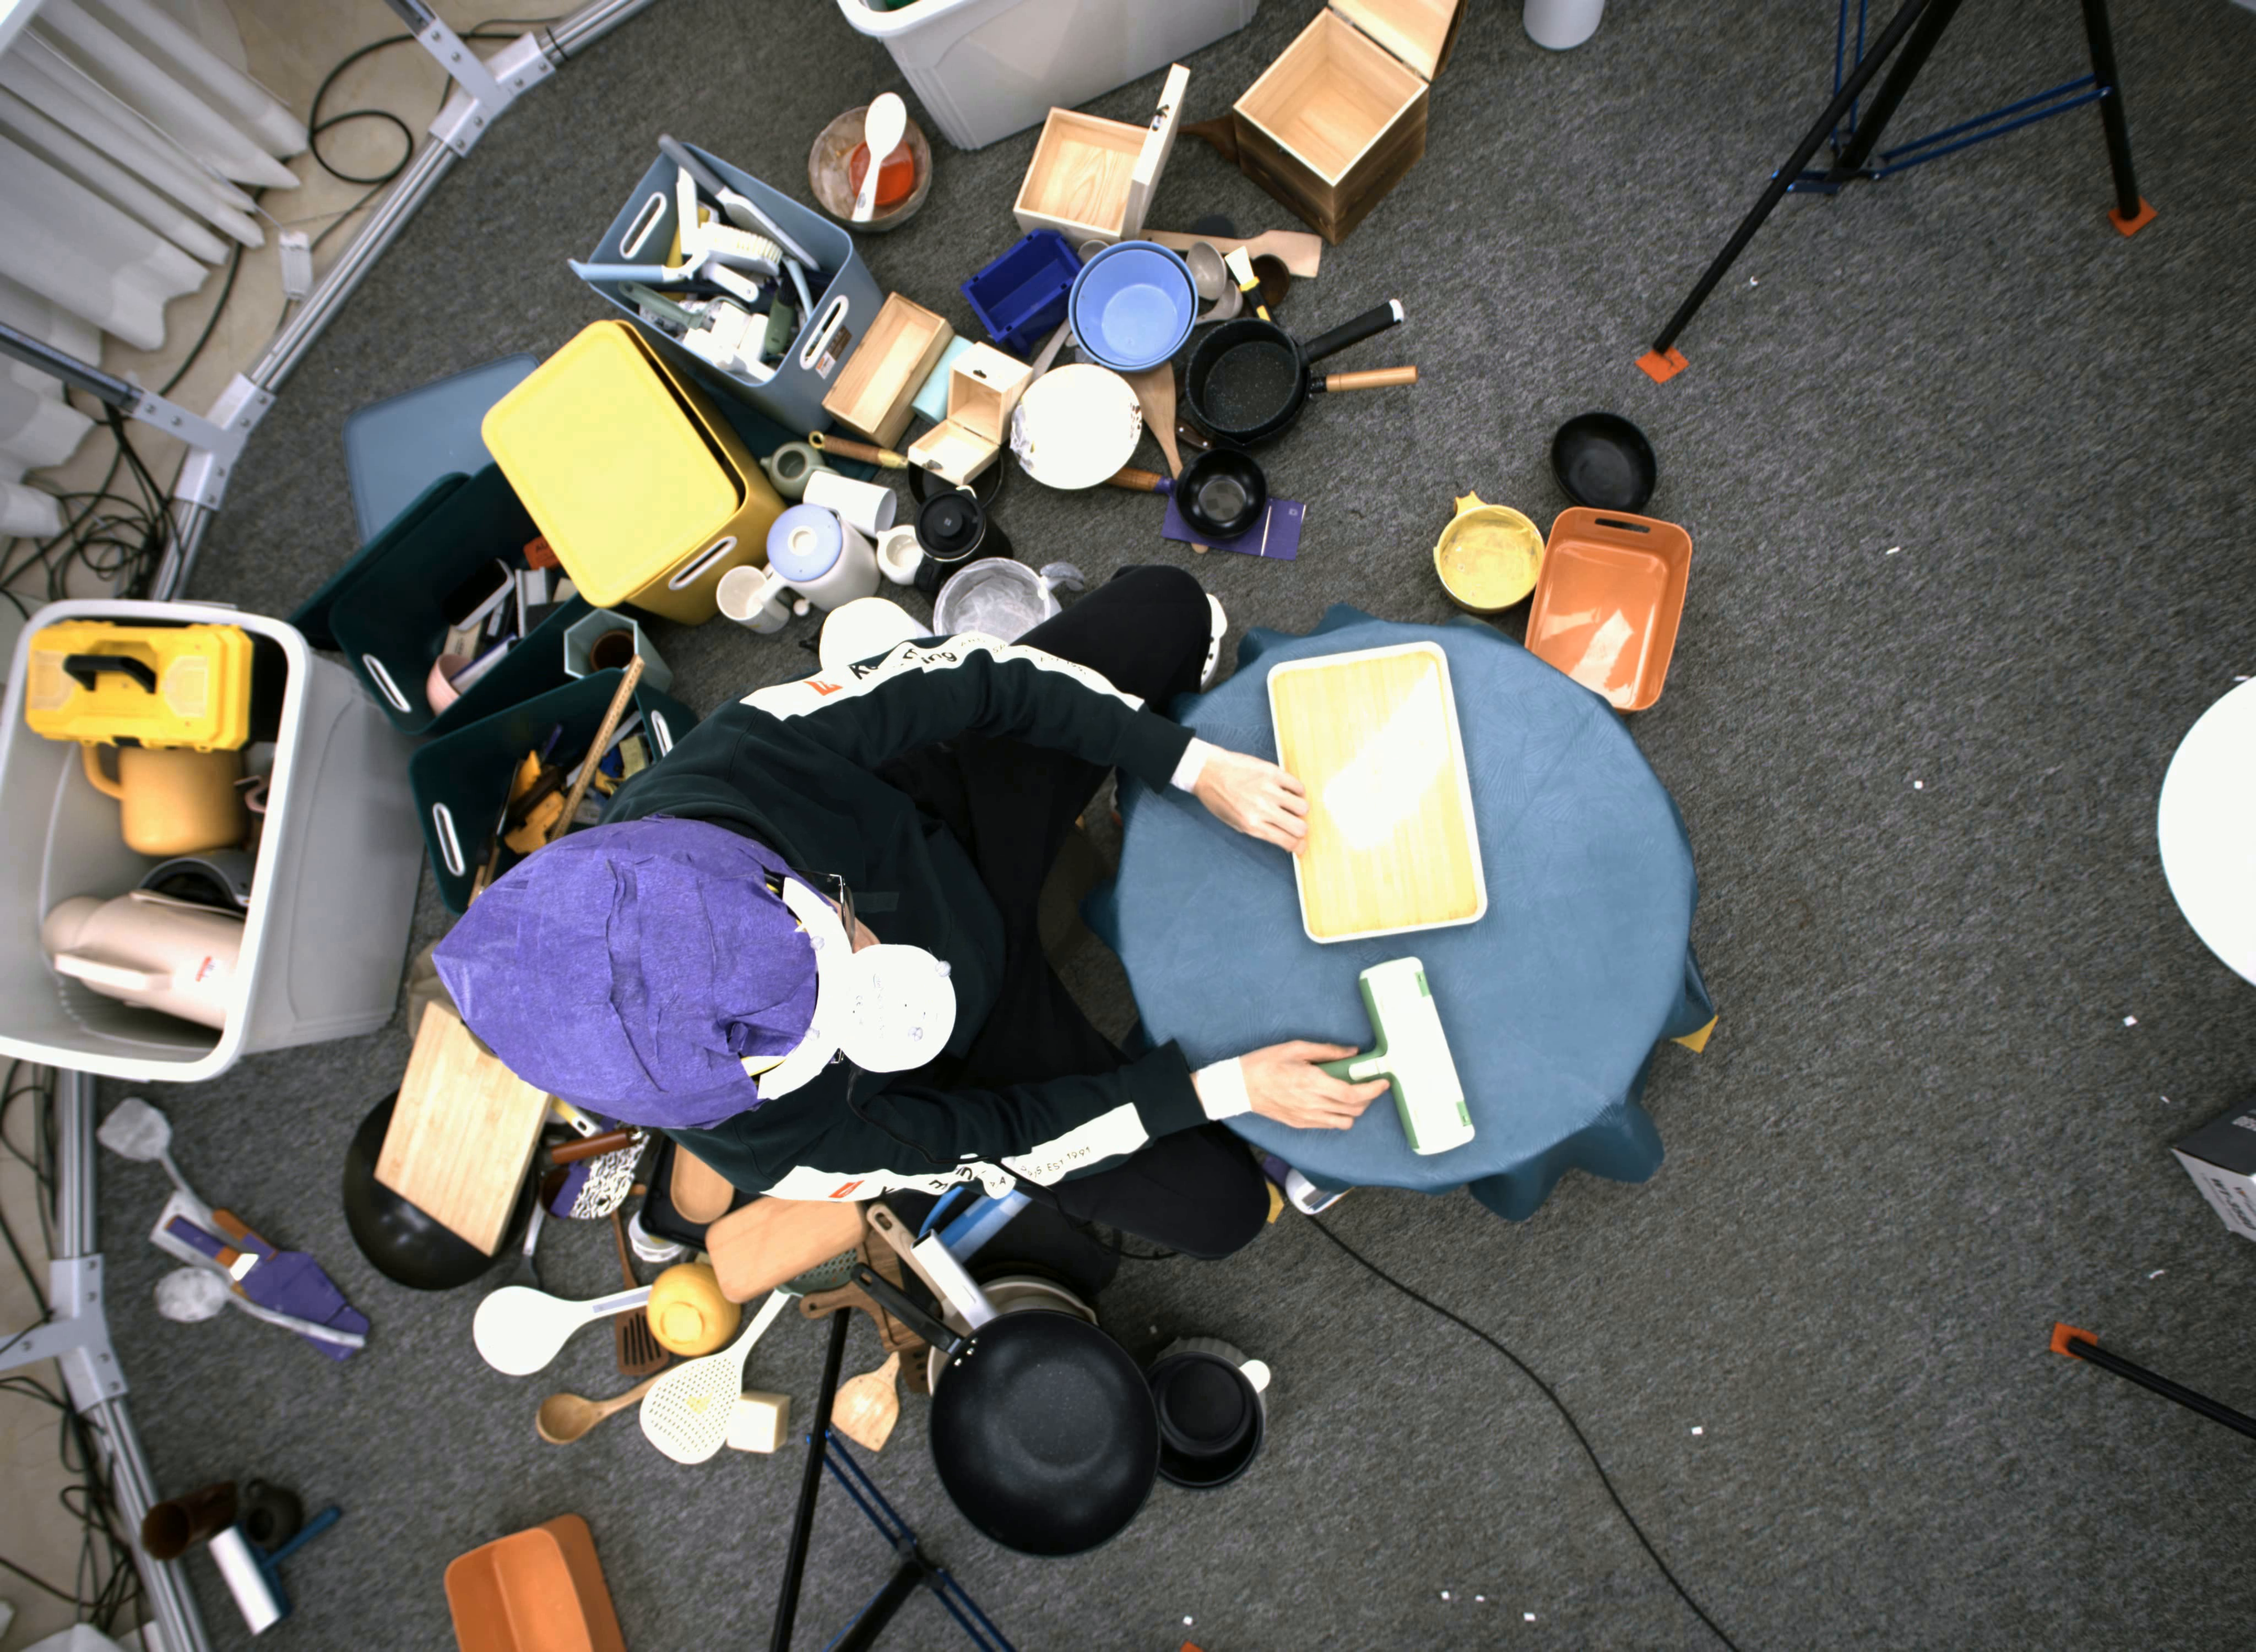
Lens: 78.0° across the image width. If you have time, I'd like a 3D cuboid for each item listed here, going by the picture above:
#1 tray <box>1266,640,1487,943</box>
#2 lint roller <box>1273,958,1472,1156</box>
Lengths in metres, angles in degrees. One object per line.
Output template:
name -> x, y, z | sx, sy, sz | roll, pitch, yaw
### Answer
tray -> 0.258, -0.037, 1.443 | 0.192, 0.027, 0.299 | -8, 86, 6
lint roller -> 0.237, 0.249, 1.412 | 0.184, 0.082, 0.197 | -16, 85, 4
